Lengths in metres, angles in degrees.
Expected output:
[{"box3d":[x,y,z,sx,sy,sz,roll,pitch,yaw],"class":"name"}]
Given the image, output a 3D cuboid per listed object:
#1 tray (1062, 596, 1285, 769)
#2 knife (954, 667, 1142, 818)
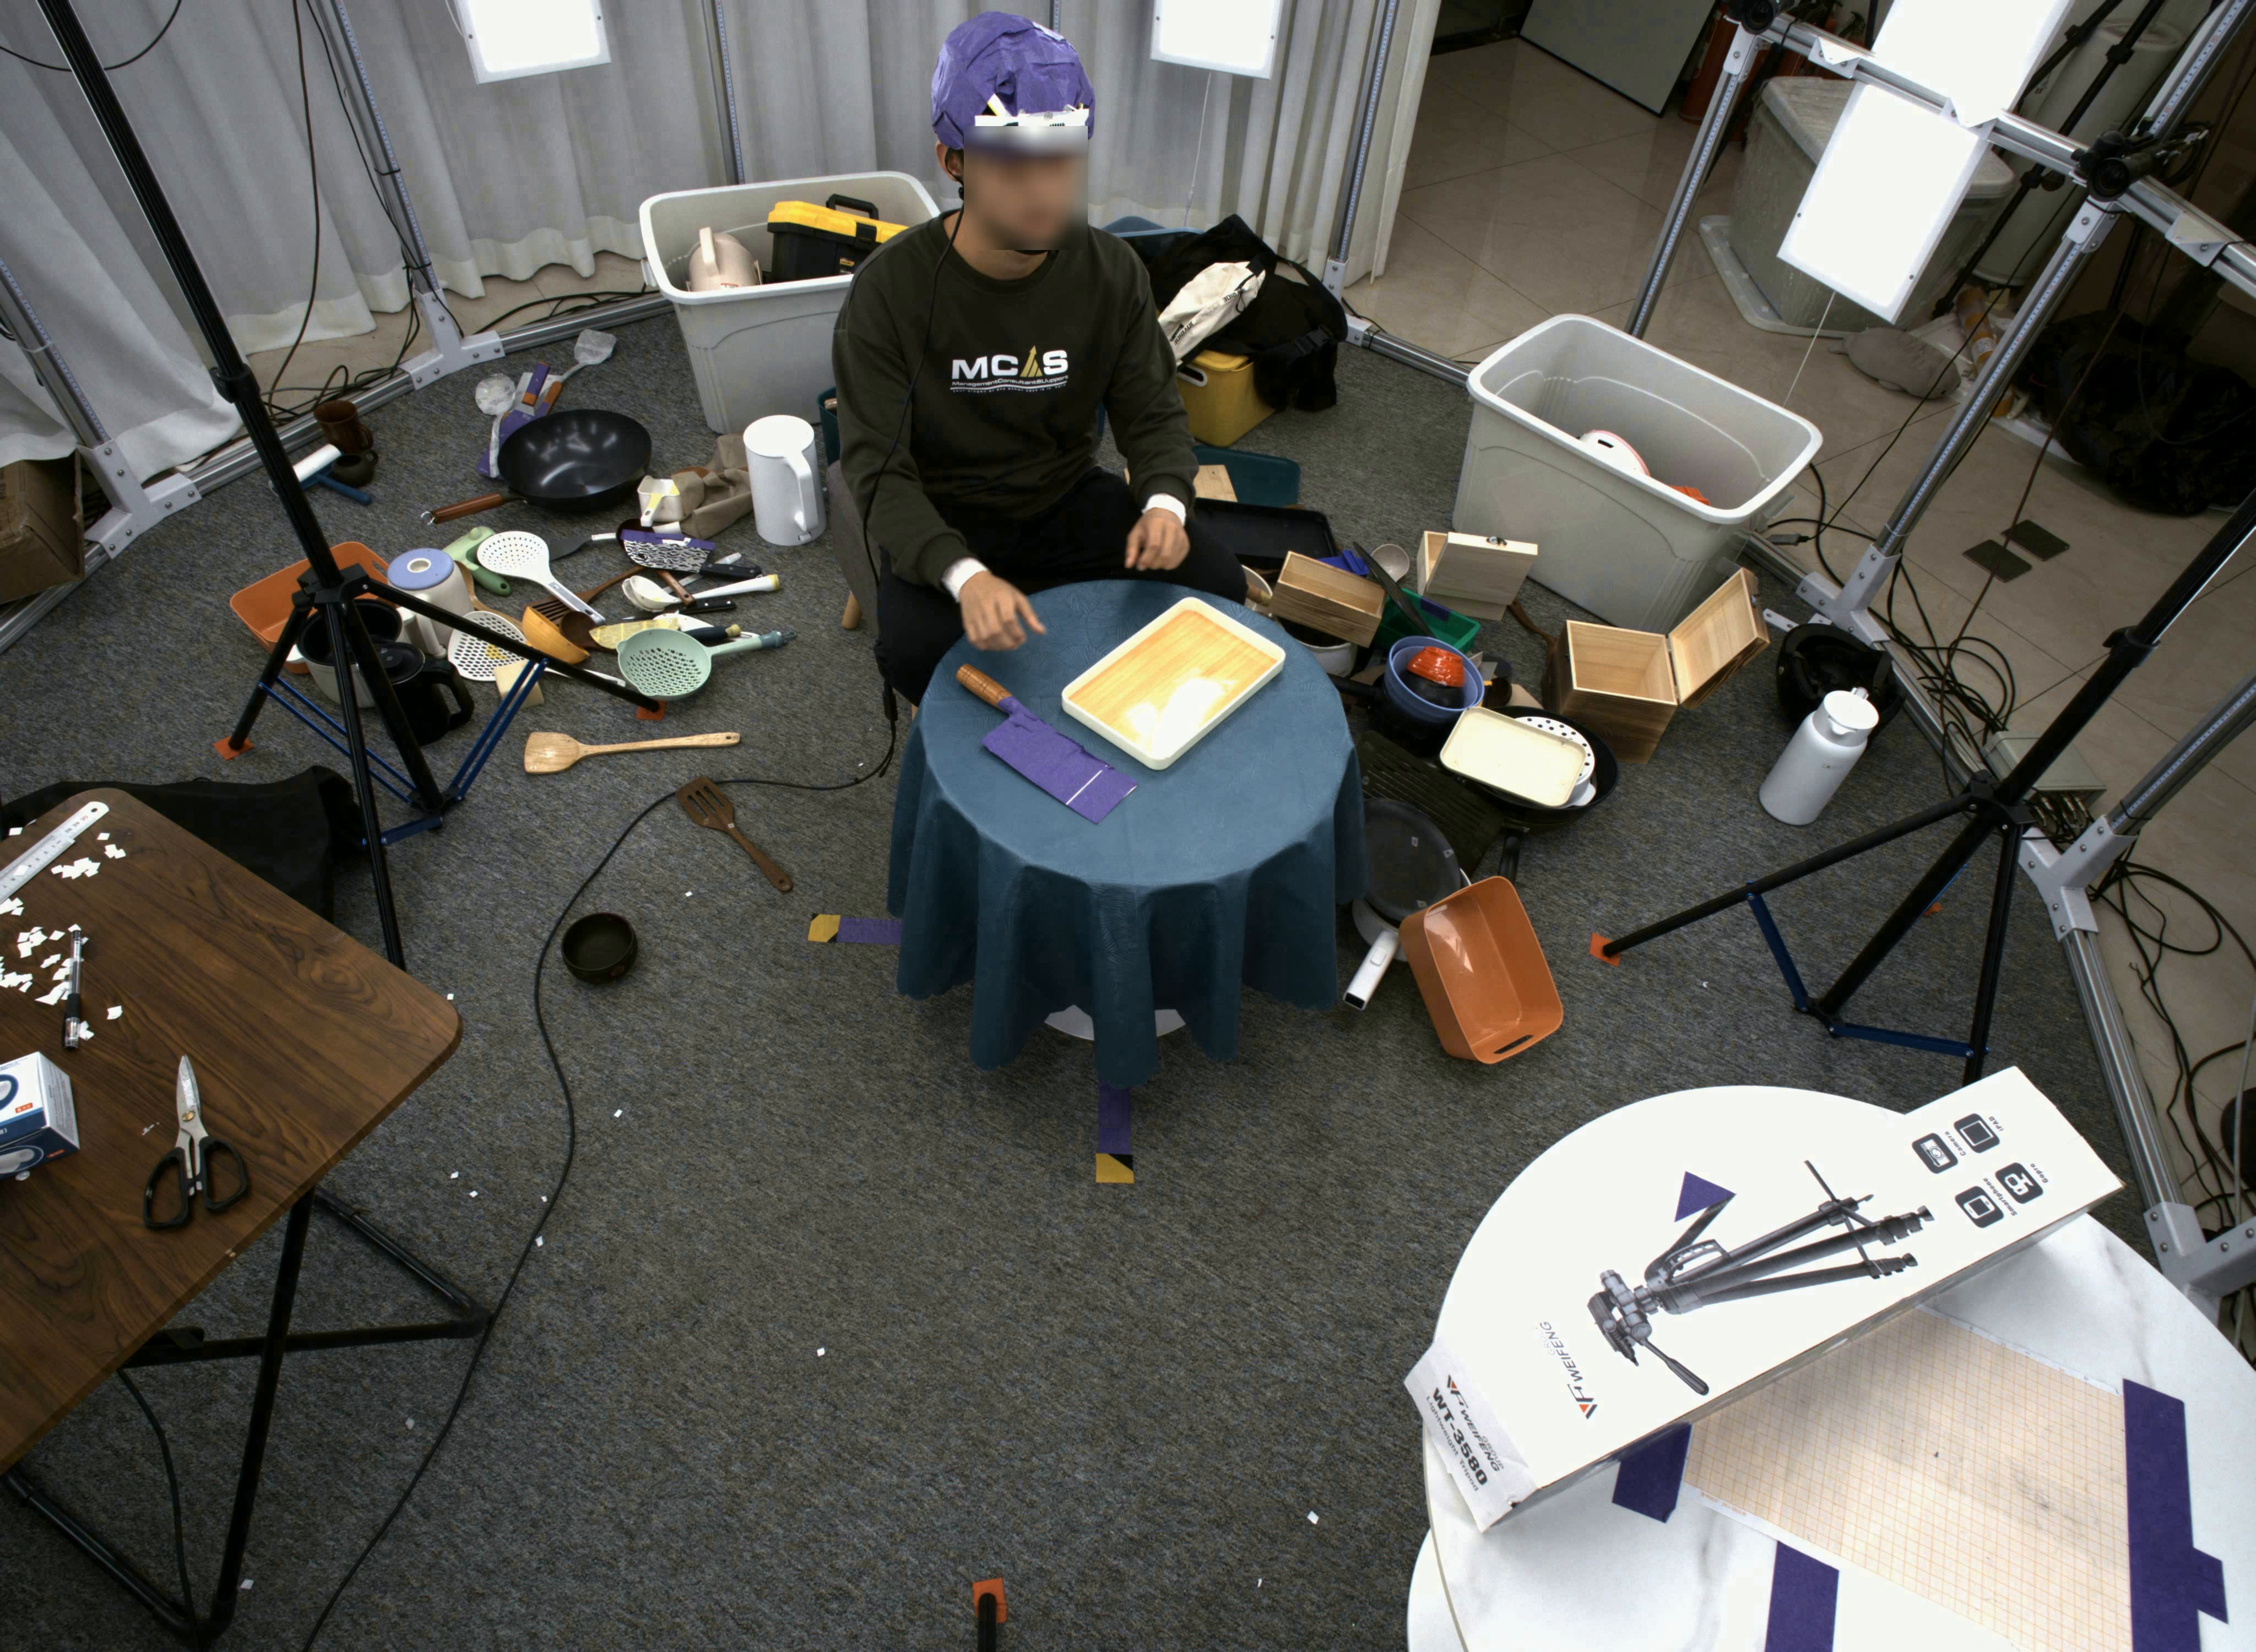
[{"box3d":[0.067,-0.212,1.838,0.194,0.027,0.303,34,55,24],"class":"tray"},{"box3d":[-0.132,-0.116,1.741,0.319,0.031,0.105,33,55,22],"class":"knife"}]
